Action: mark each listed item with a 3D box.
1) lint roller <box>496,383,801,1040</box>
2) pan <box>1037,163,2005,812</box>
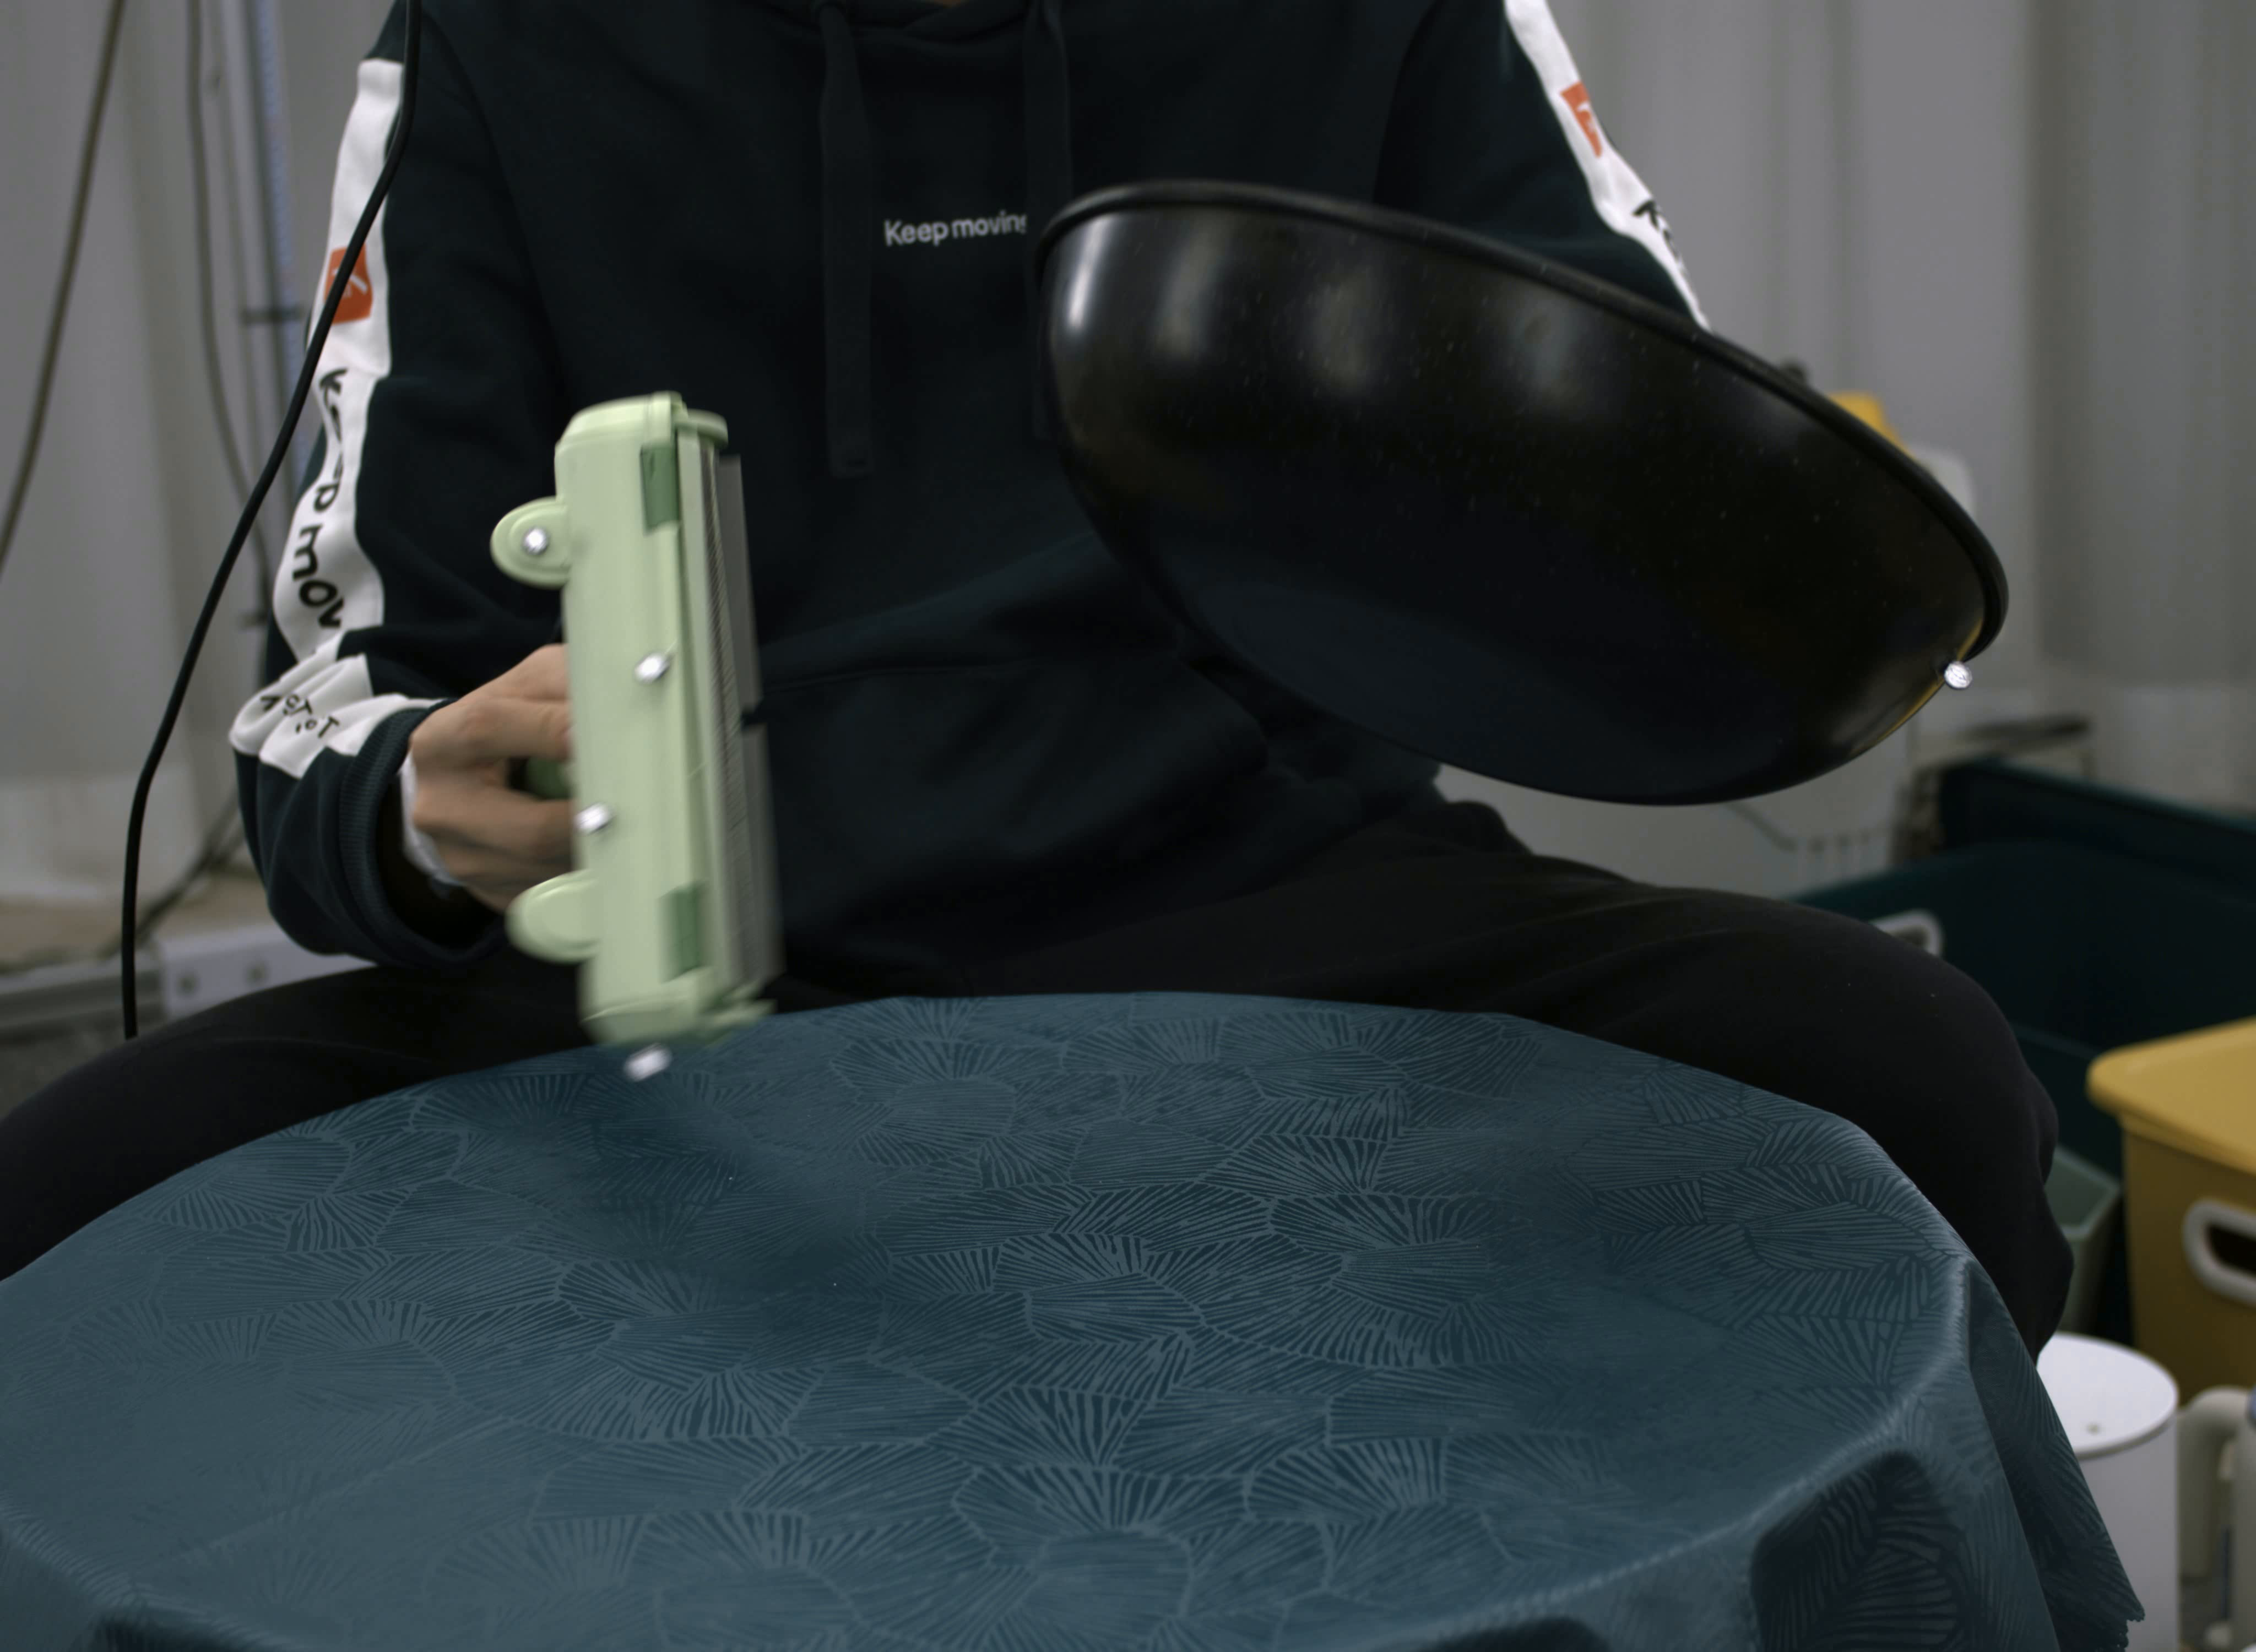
[{"bbox_3d":[-0.173,-0.024,1.717,0.081,0.200,0.183,-2,-11,-32],"label":"lint roller"},{"bbox_3d":[0.115,-0.068,1.700,0.311,0.112,0.472,22,-12,13],"label":"pan"}]
